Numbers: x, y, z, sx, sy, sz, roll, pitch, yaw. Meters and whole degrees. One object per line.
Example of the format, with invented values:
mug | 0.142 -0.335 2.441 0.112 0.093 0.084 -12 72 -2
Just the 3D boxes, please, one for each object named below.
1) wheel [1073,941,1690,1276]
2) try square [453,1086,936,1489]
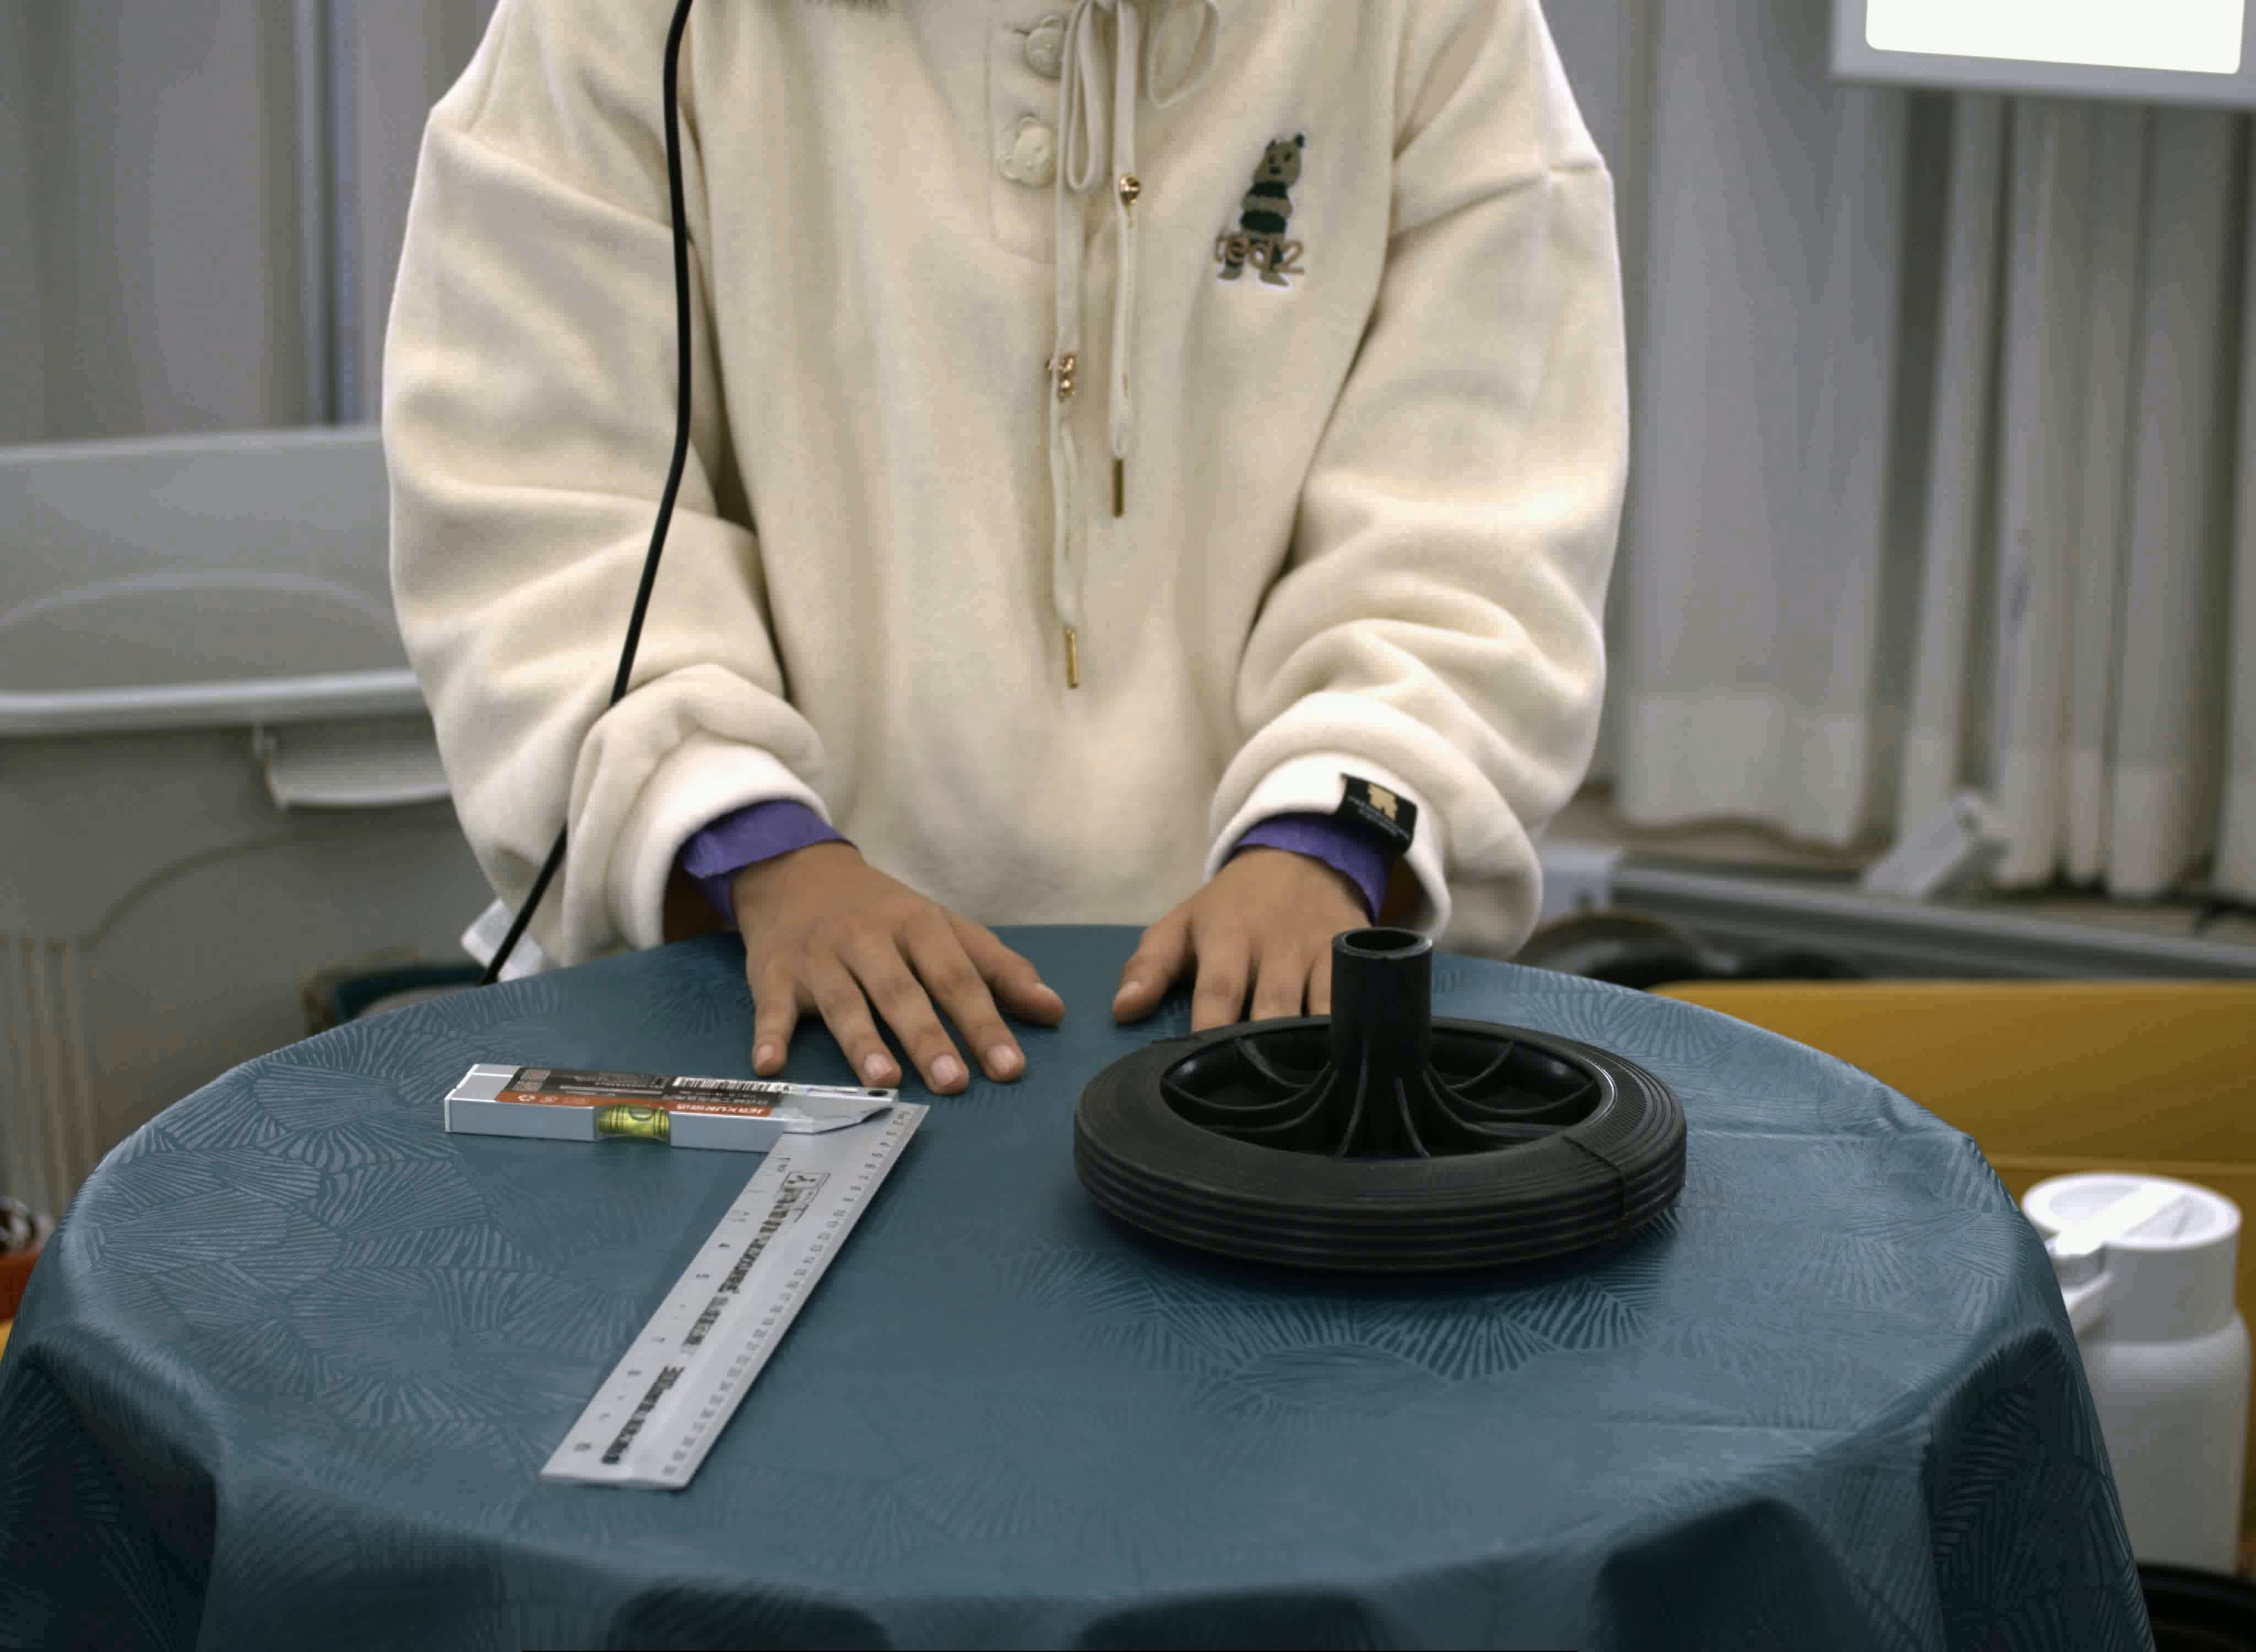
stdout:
wheel | 0.078 0.077 1.608 0.190 0.080 0.186 -3 16 -12
try square | -0.162 0.131 1.545 0.151 0.016 0.312 0 16 11
